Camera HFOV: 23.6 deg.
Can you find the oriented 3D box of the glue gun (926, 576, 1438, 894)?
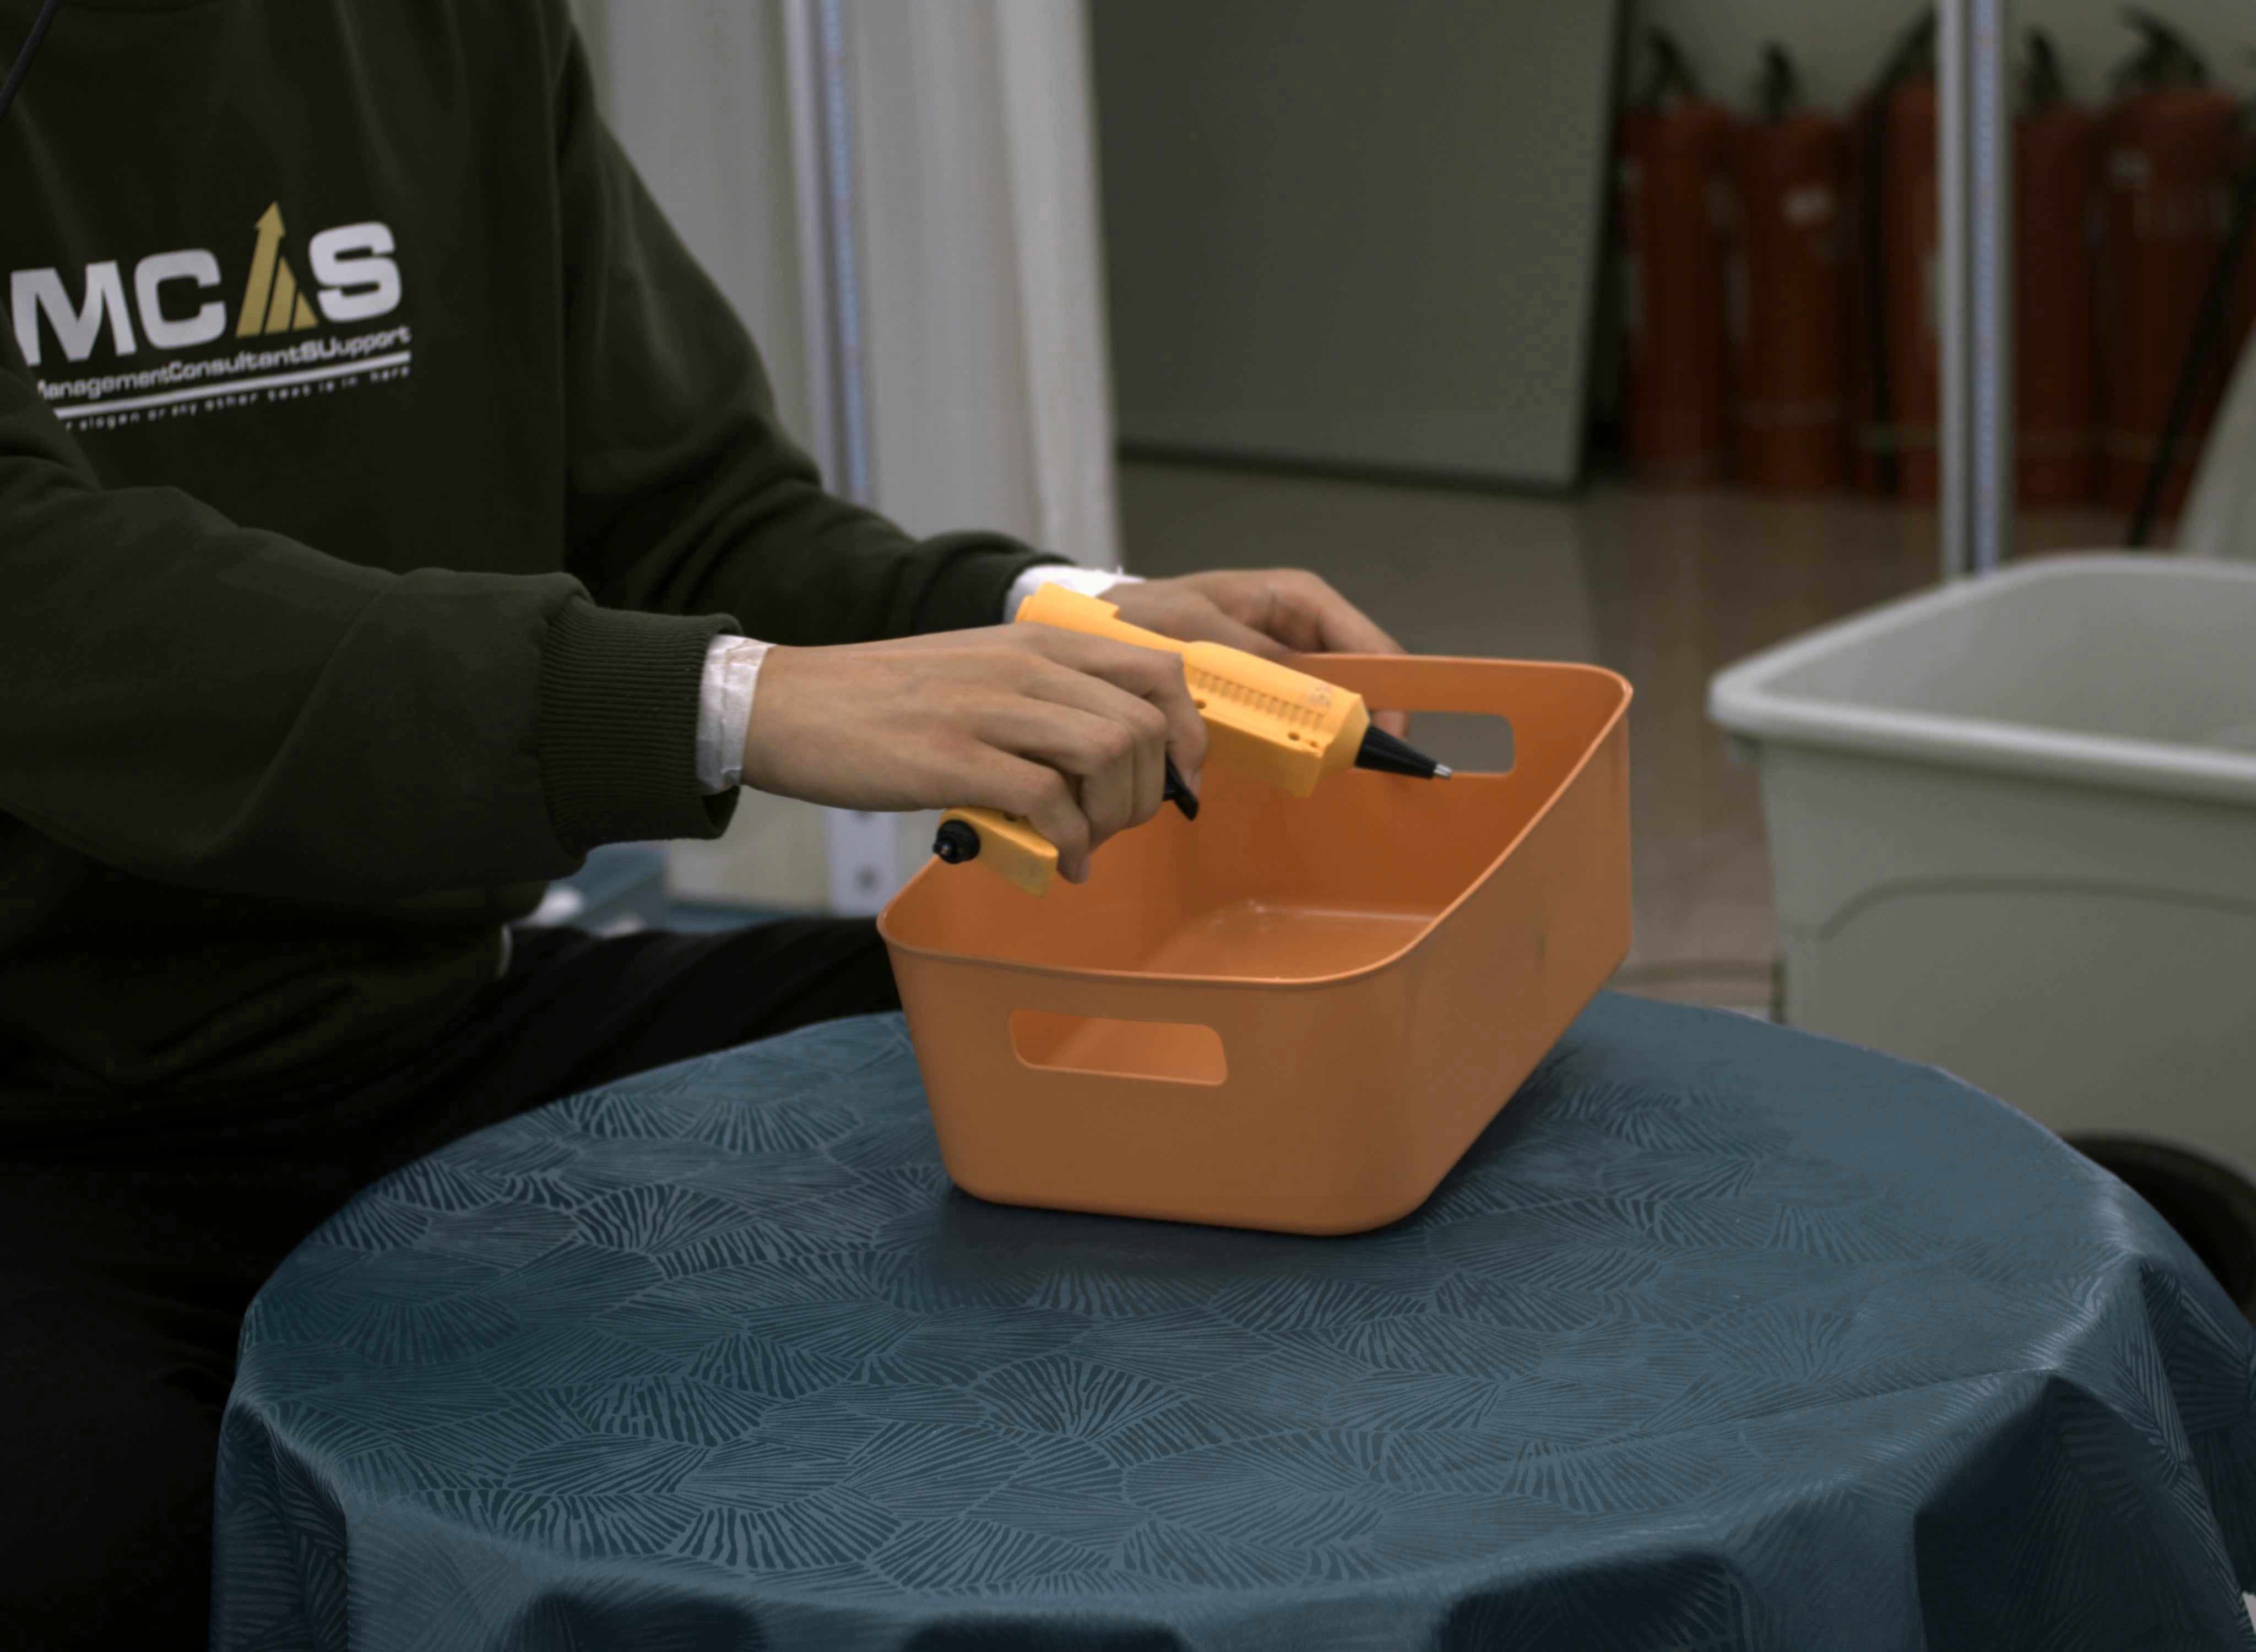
[{"bbox_3d":[0.021,-0.015,1.718,0.150,0.031,0.133,16,42,3],"label":"glue gun"}]

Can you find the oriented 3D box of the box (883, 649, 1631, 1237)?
[{"bbox_3d":[0.052,0.038,1.824,0.200,0.103,0.270,2,24,26],"label":"box"}]
